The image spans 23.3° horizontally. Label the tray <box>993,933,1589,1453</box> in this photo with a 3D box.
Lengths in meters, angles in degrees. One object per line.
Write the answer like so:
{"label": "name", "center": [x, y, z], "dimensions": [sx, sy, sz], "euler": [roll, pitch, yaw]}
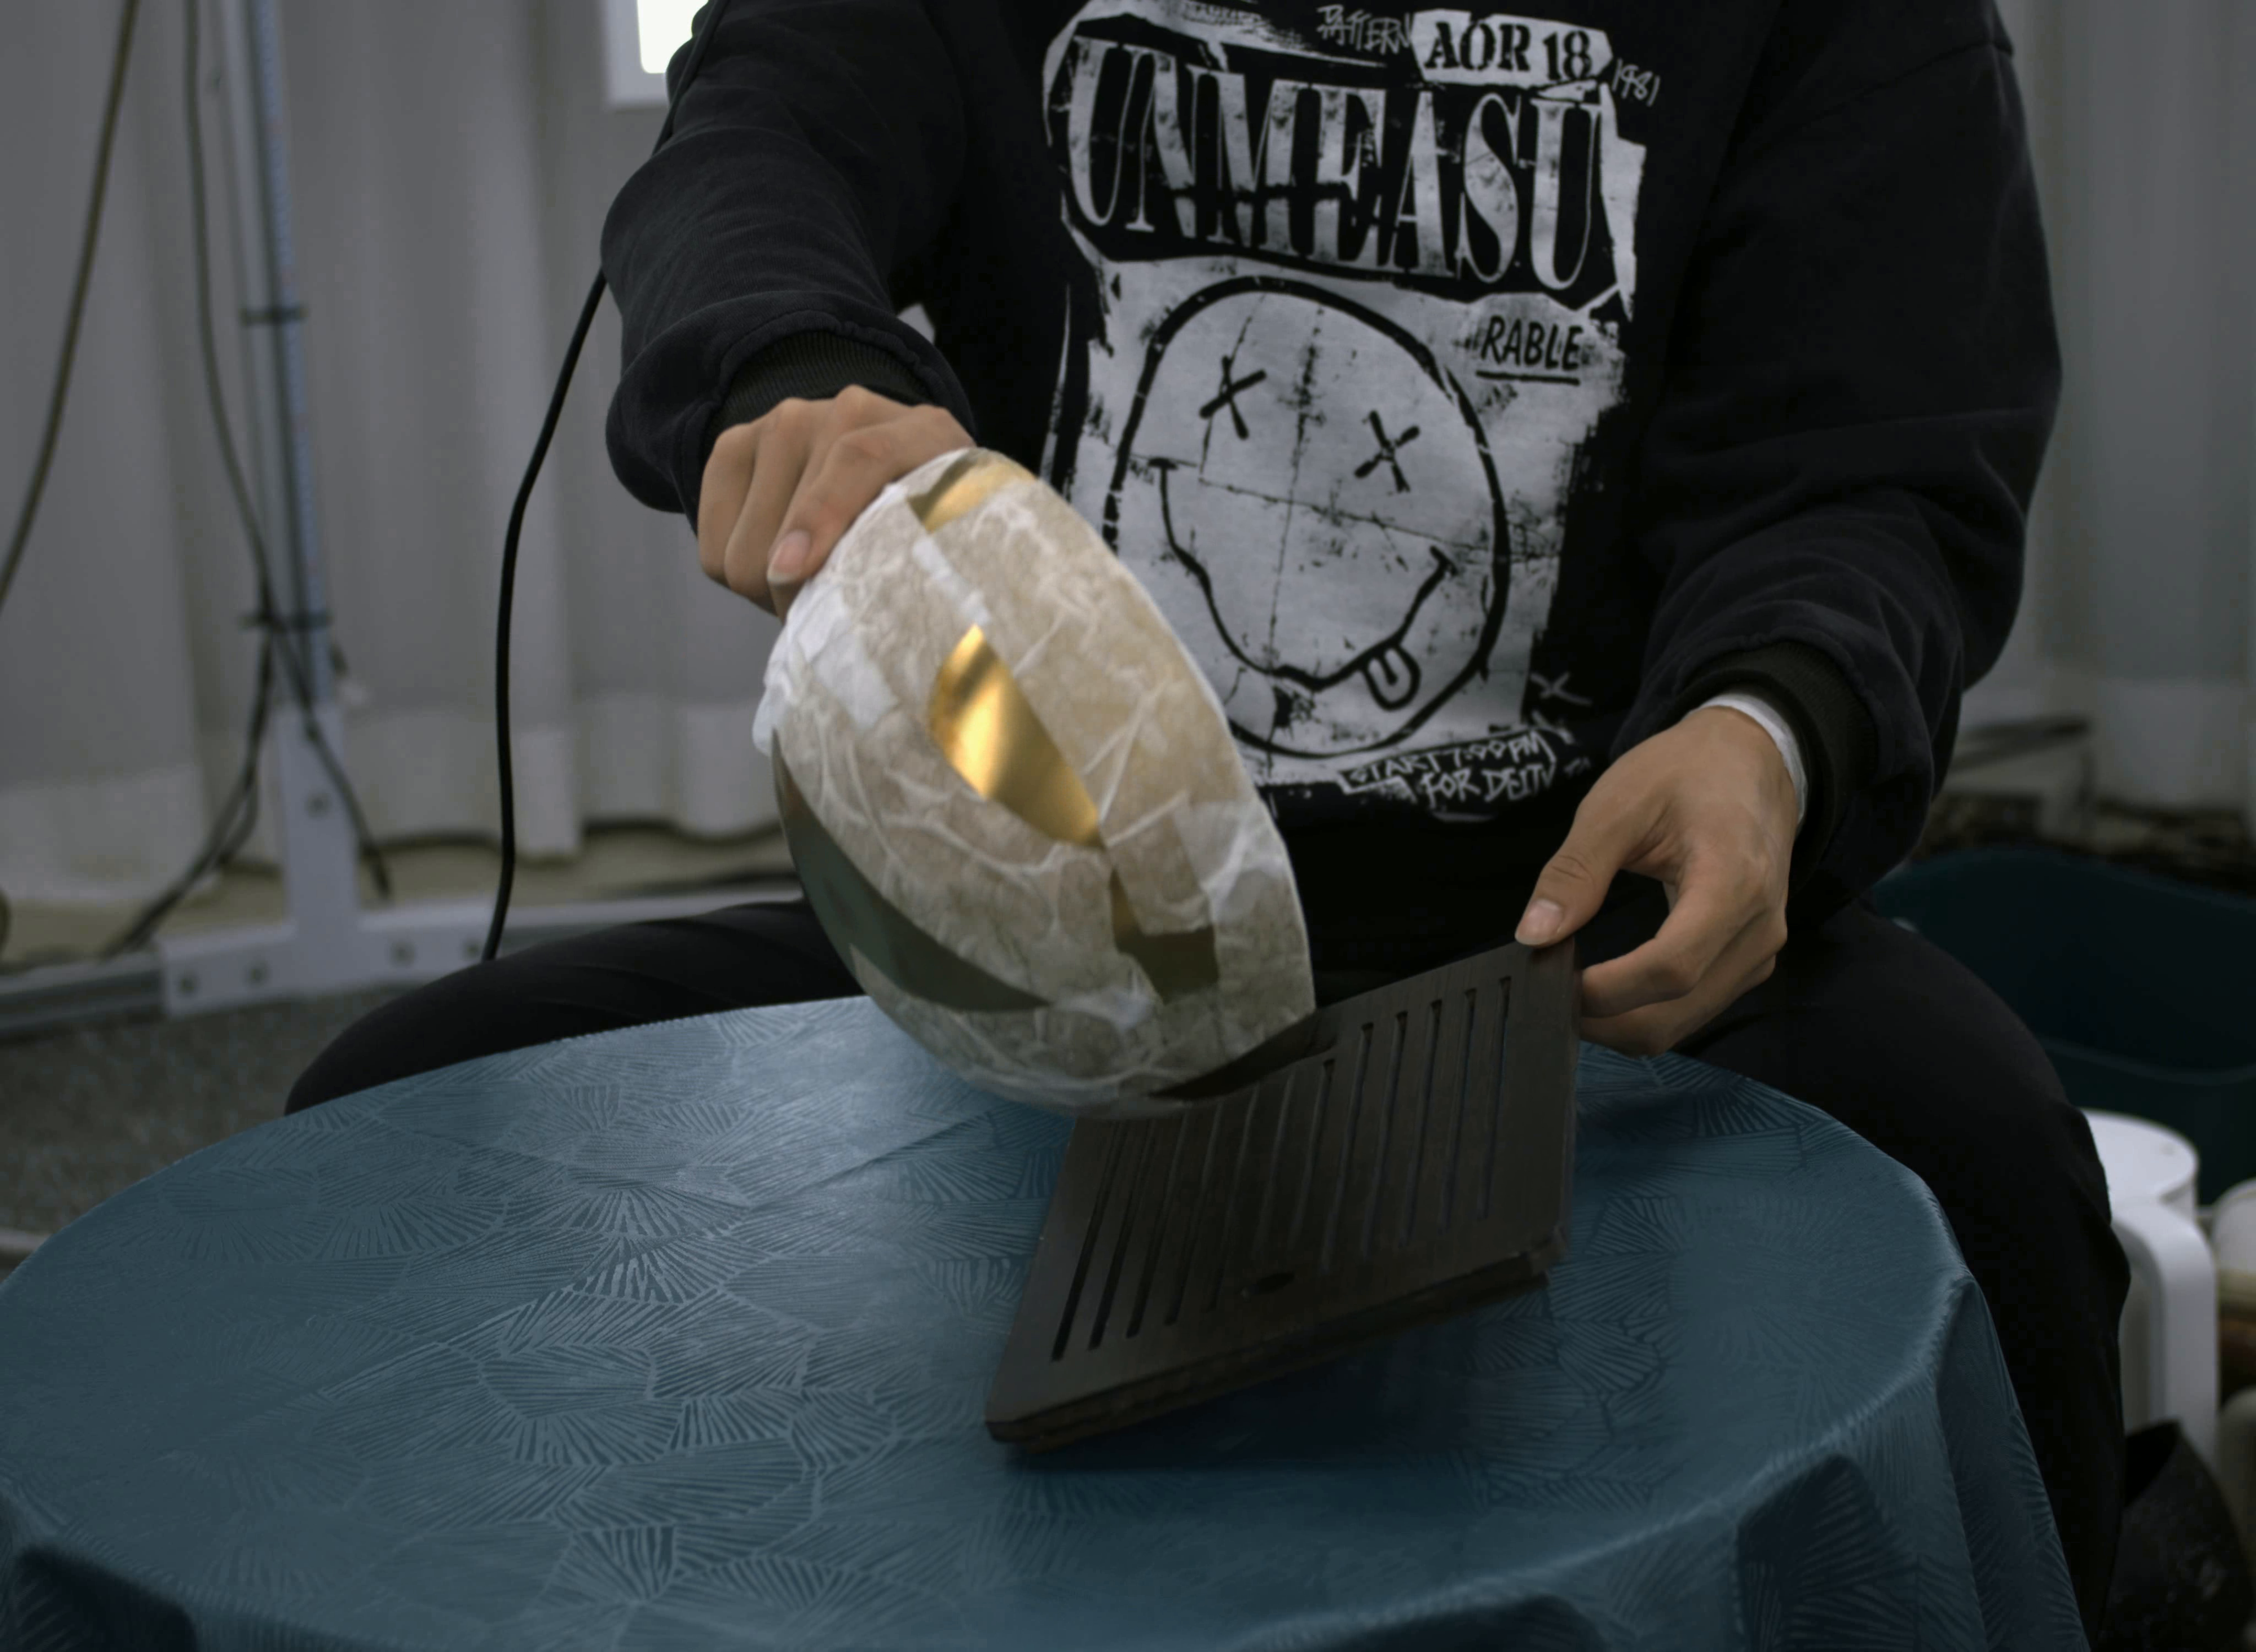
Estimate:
{"label": "tray", "center": [0.056, 0.105, 1.615], "dimensions": [0.169, 0.018, 0.308], "euler": [-19, 12, 10]}

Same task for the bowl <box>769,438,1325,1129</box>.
{"label": "bowl", "center": [-0.040, 0.007, 1.532], "dimensions": [0.094, 0.213, 0.216], "euler": [-29, 23, -17]}
